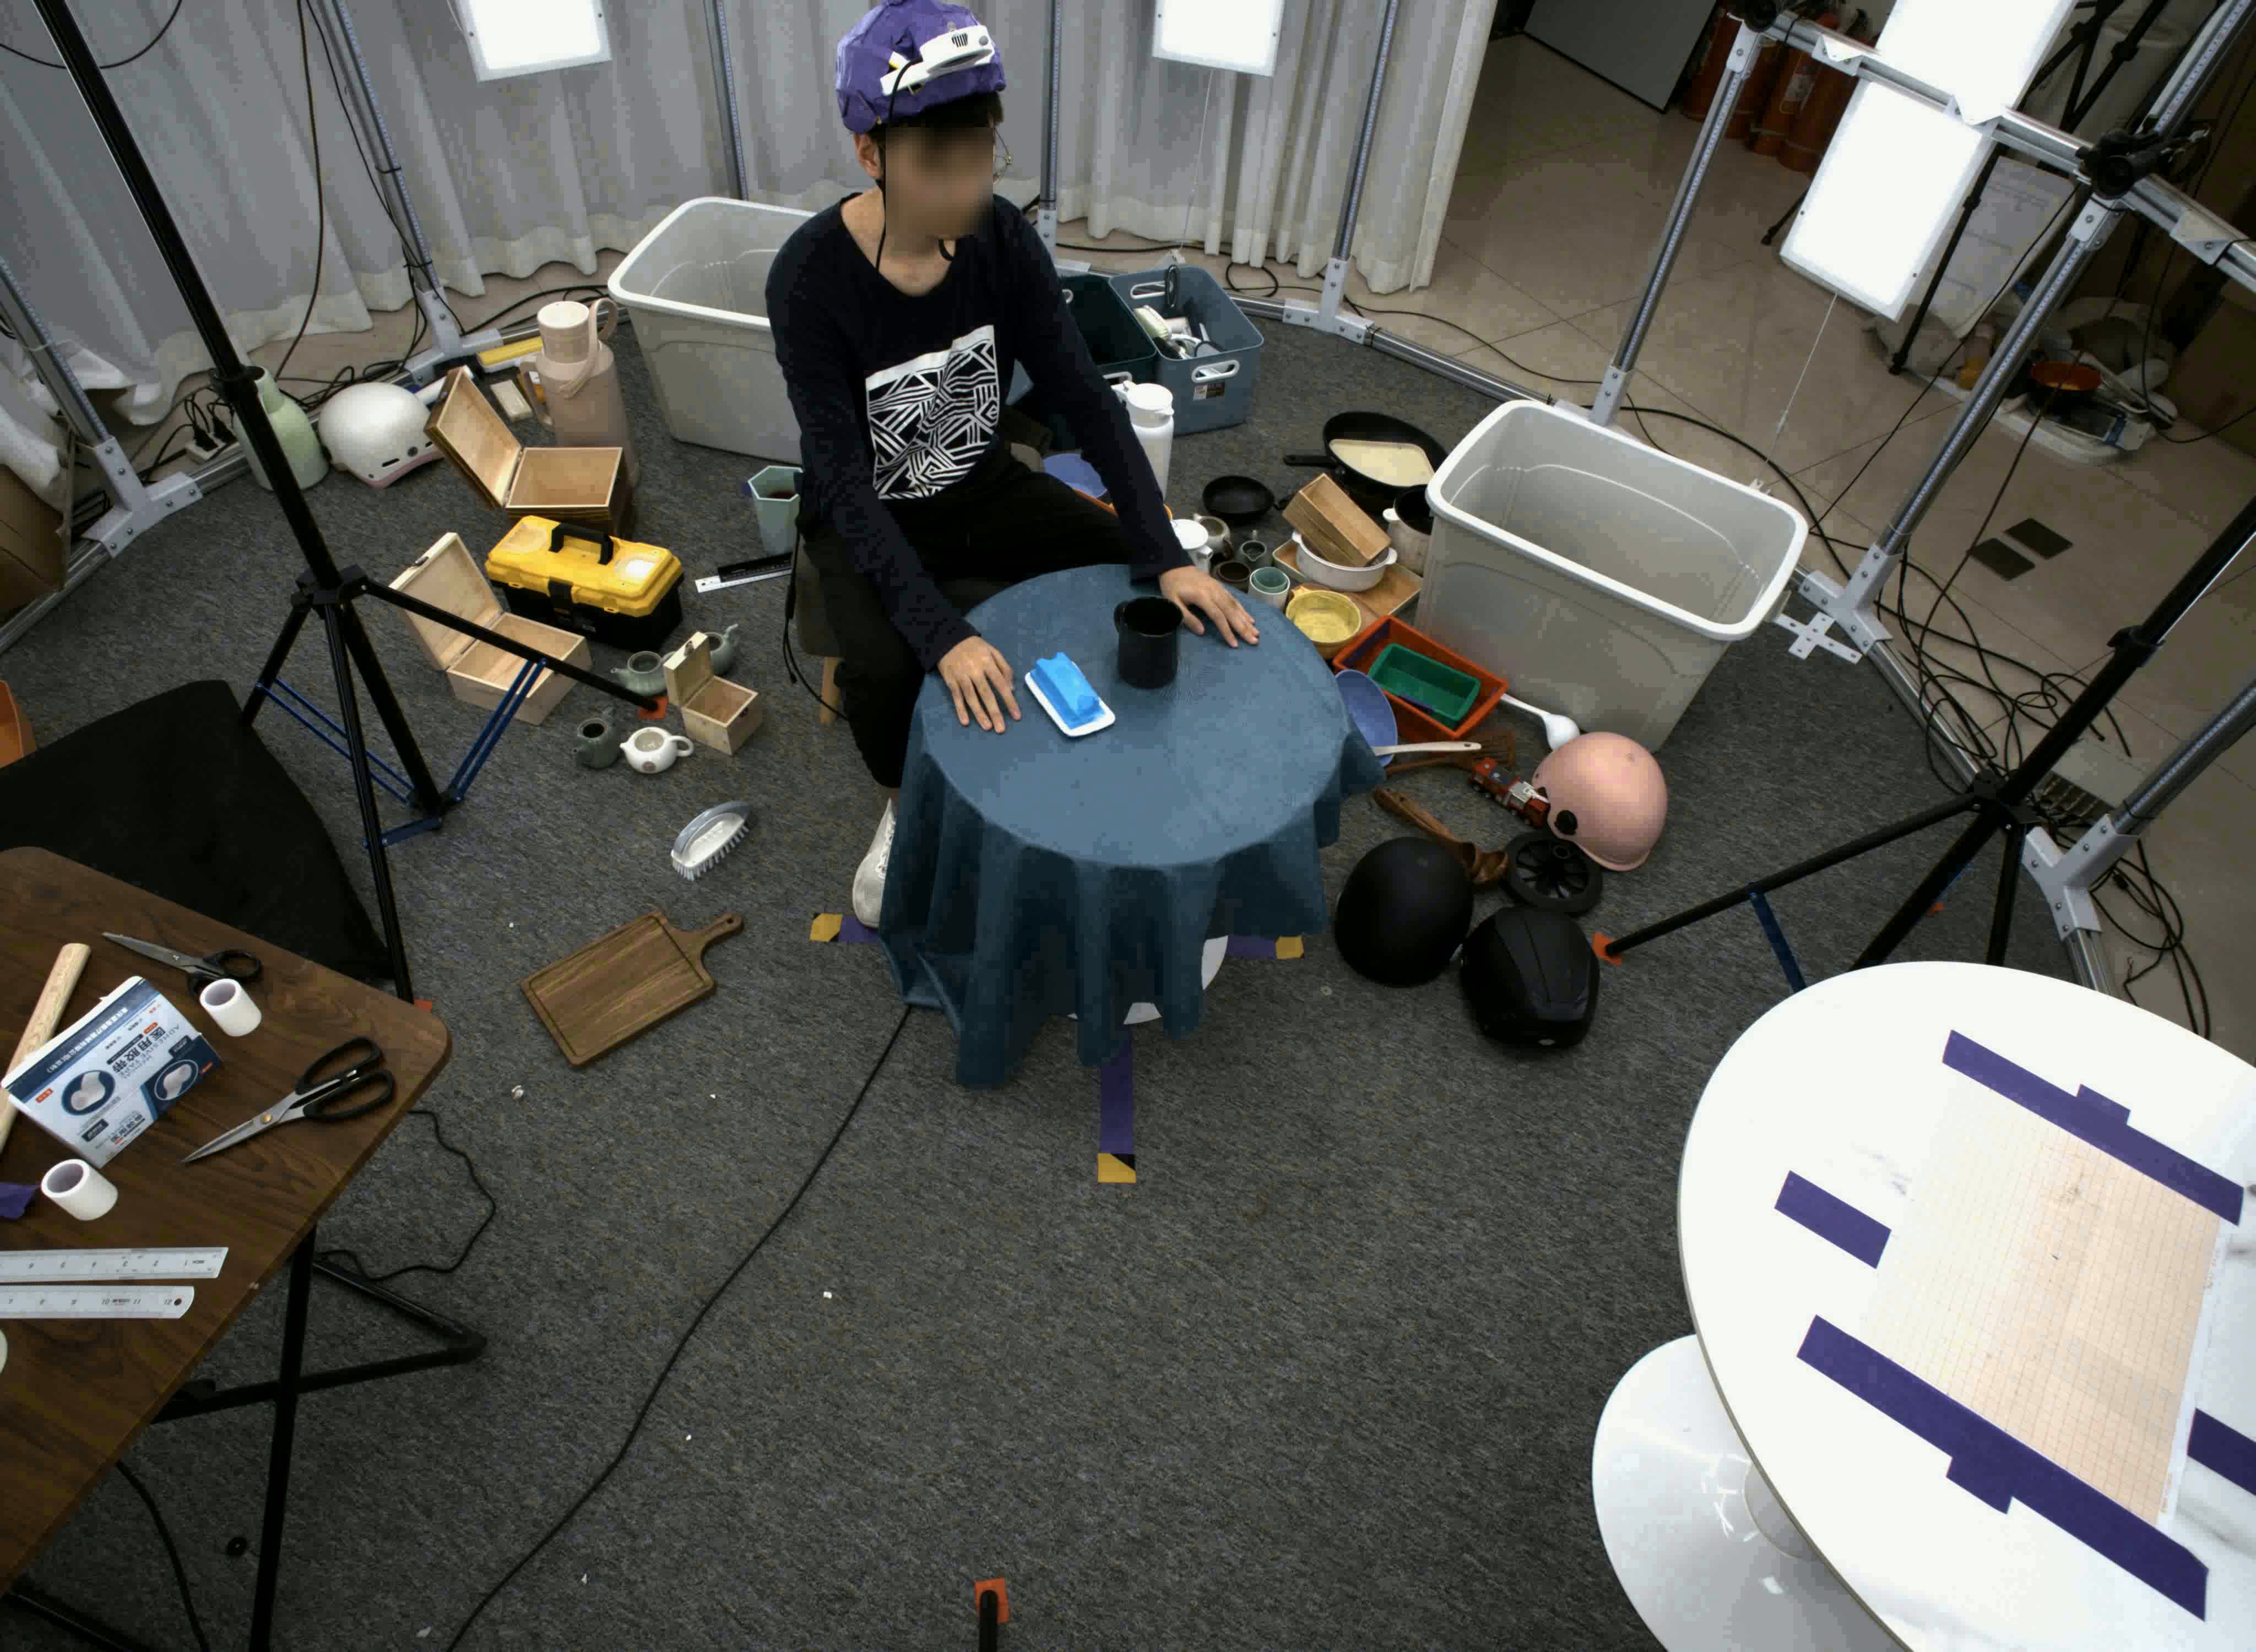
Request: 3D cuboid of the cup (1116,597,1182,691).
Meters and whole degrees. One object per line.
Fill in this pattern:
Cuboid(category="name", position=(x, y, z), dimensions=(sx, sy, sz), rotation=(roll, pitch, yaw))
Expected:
Cuboid(category="cup", position=(0.021, -0.271, 1.840), dimensions=(0.089, 0.102, 0.126), rotation=(-26, 53, -22))

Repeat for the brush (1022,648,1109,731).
Cuboid(category="brush", position=(-0.086, -0.198, 1.795), dimensions=(0.084, 0.054, 0.147), rotation=(-18, 54, -22))
